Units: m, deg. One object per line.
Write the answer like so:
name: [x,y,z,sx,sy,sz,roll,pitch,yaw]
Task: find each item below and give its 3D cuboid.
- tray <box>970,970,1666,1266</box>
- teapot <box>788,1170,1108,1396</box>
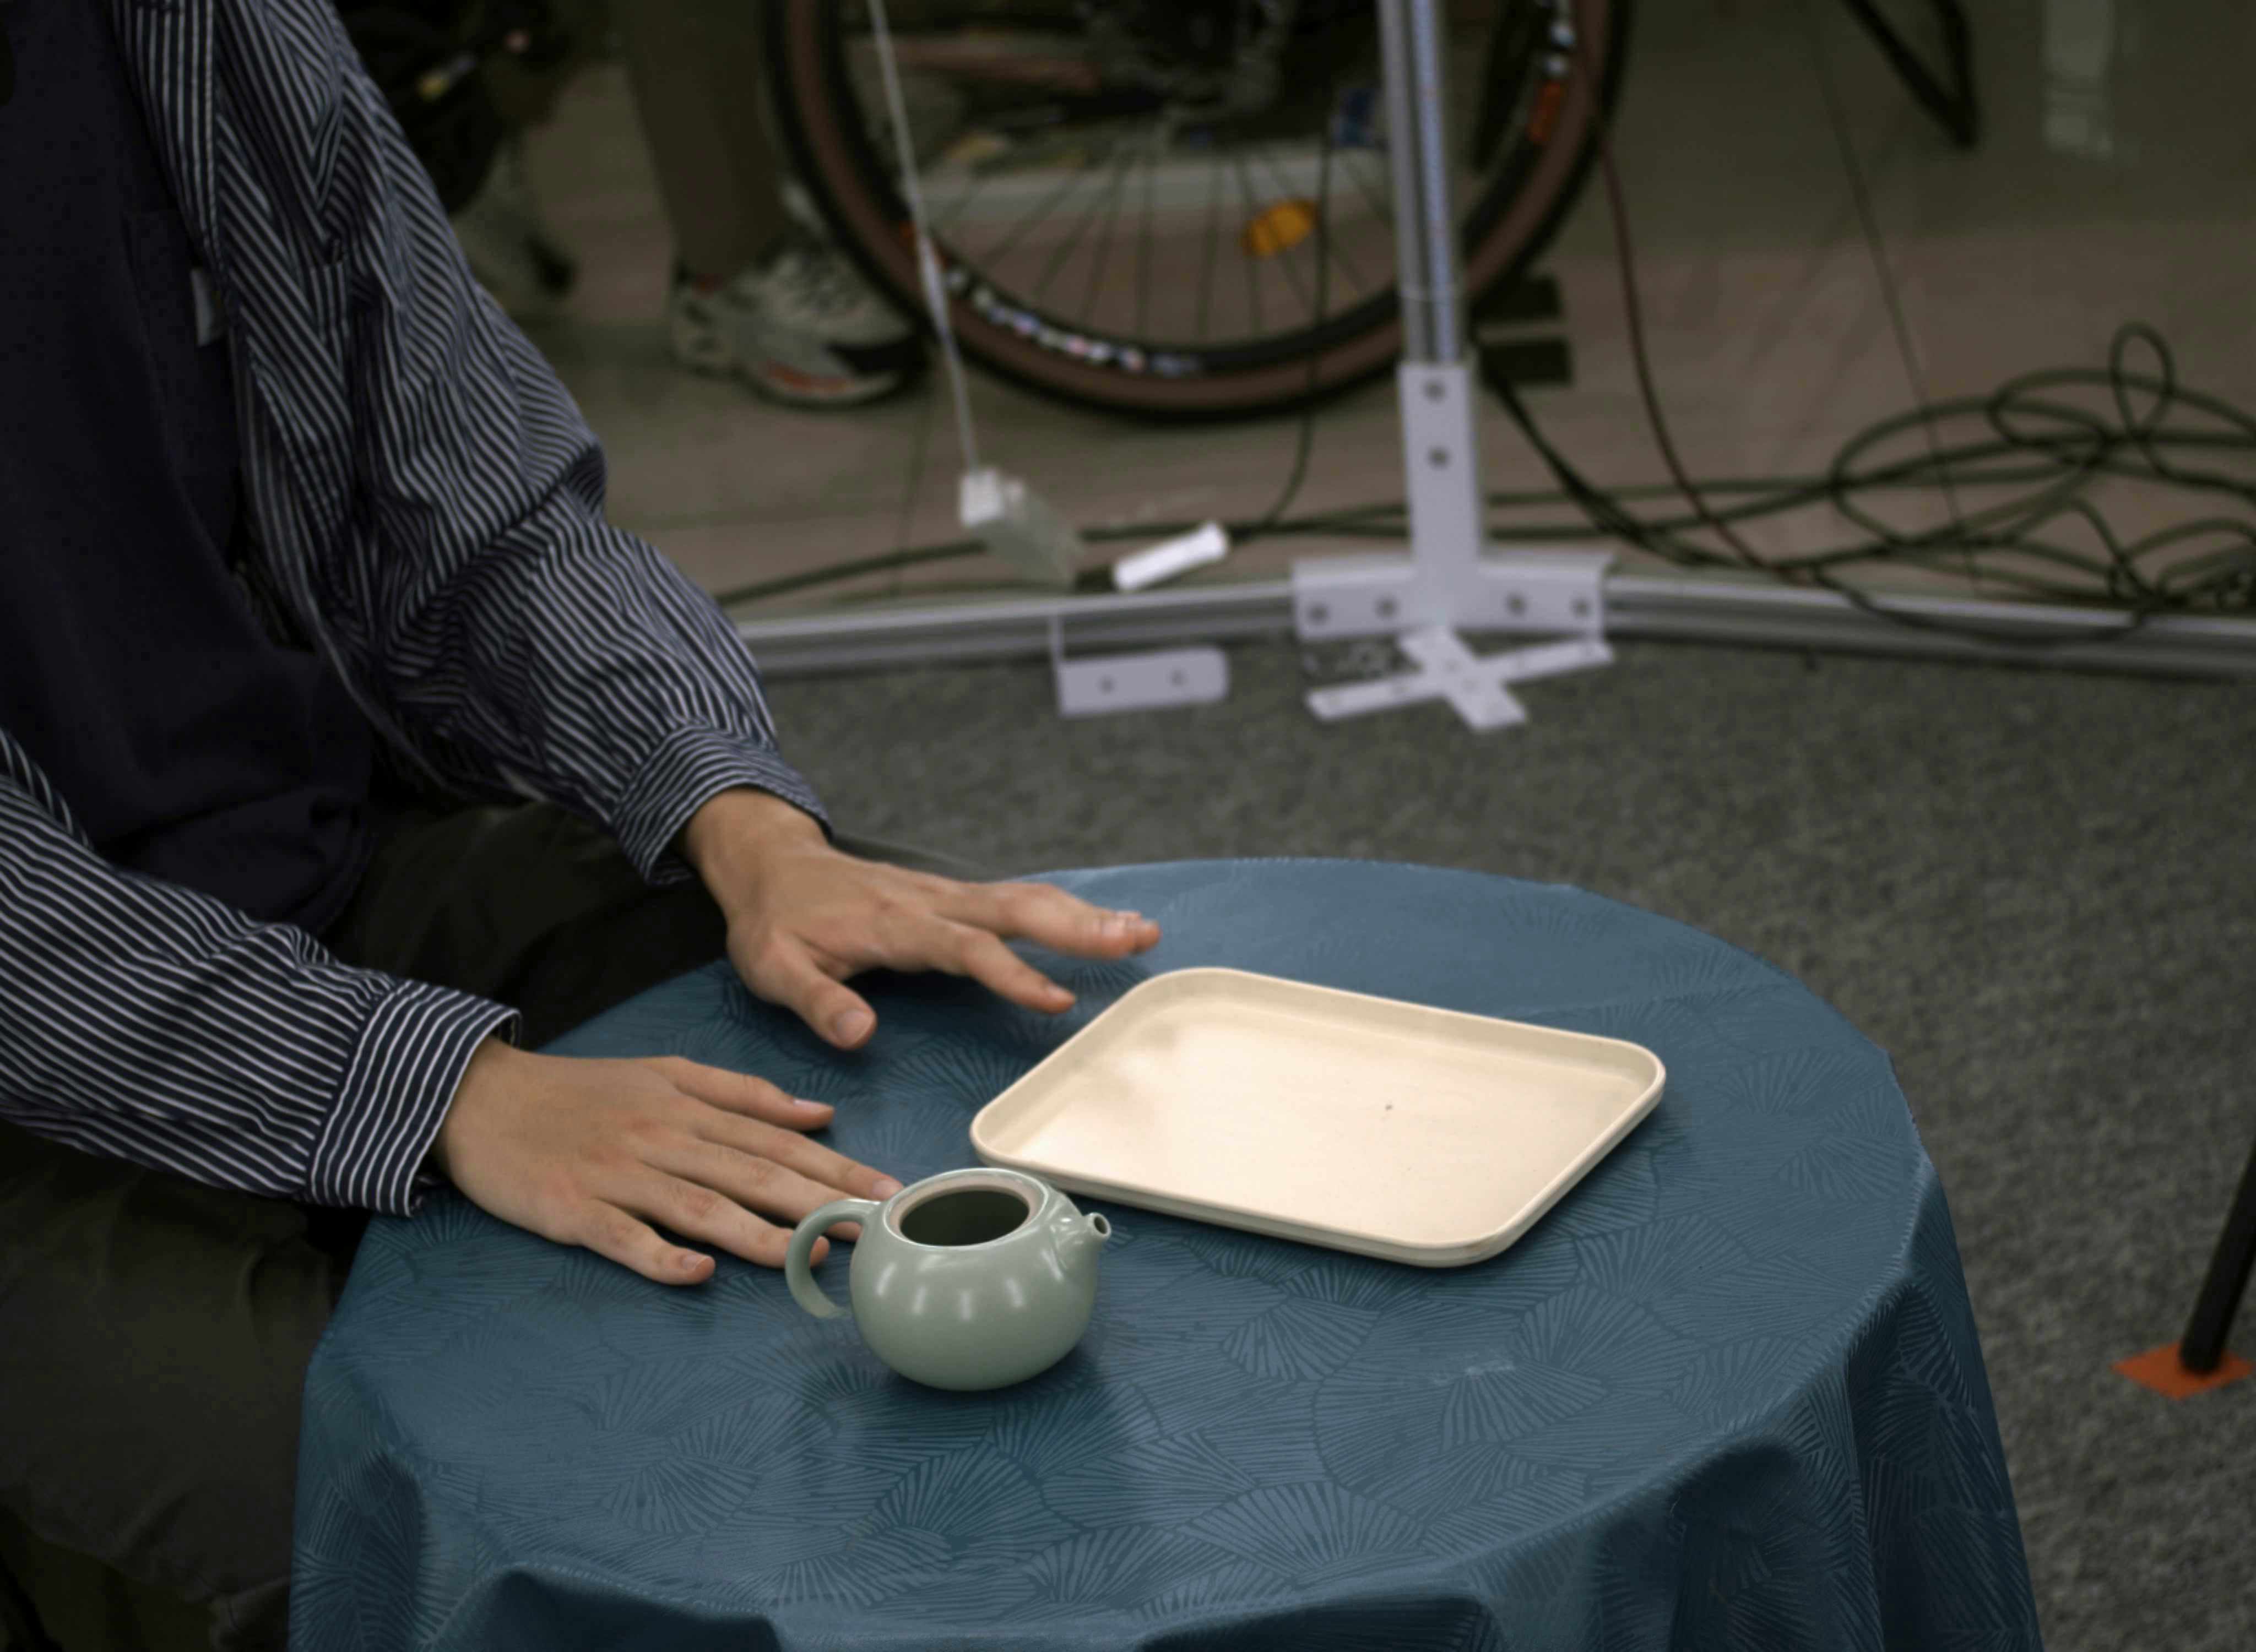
tray: [0.073,0.111,2.172,0.238,0.018,0.169,10,29,32]
teapot: [-0.064,0.164,2.044,0.128,0.062,0.090,5,29,23]
